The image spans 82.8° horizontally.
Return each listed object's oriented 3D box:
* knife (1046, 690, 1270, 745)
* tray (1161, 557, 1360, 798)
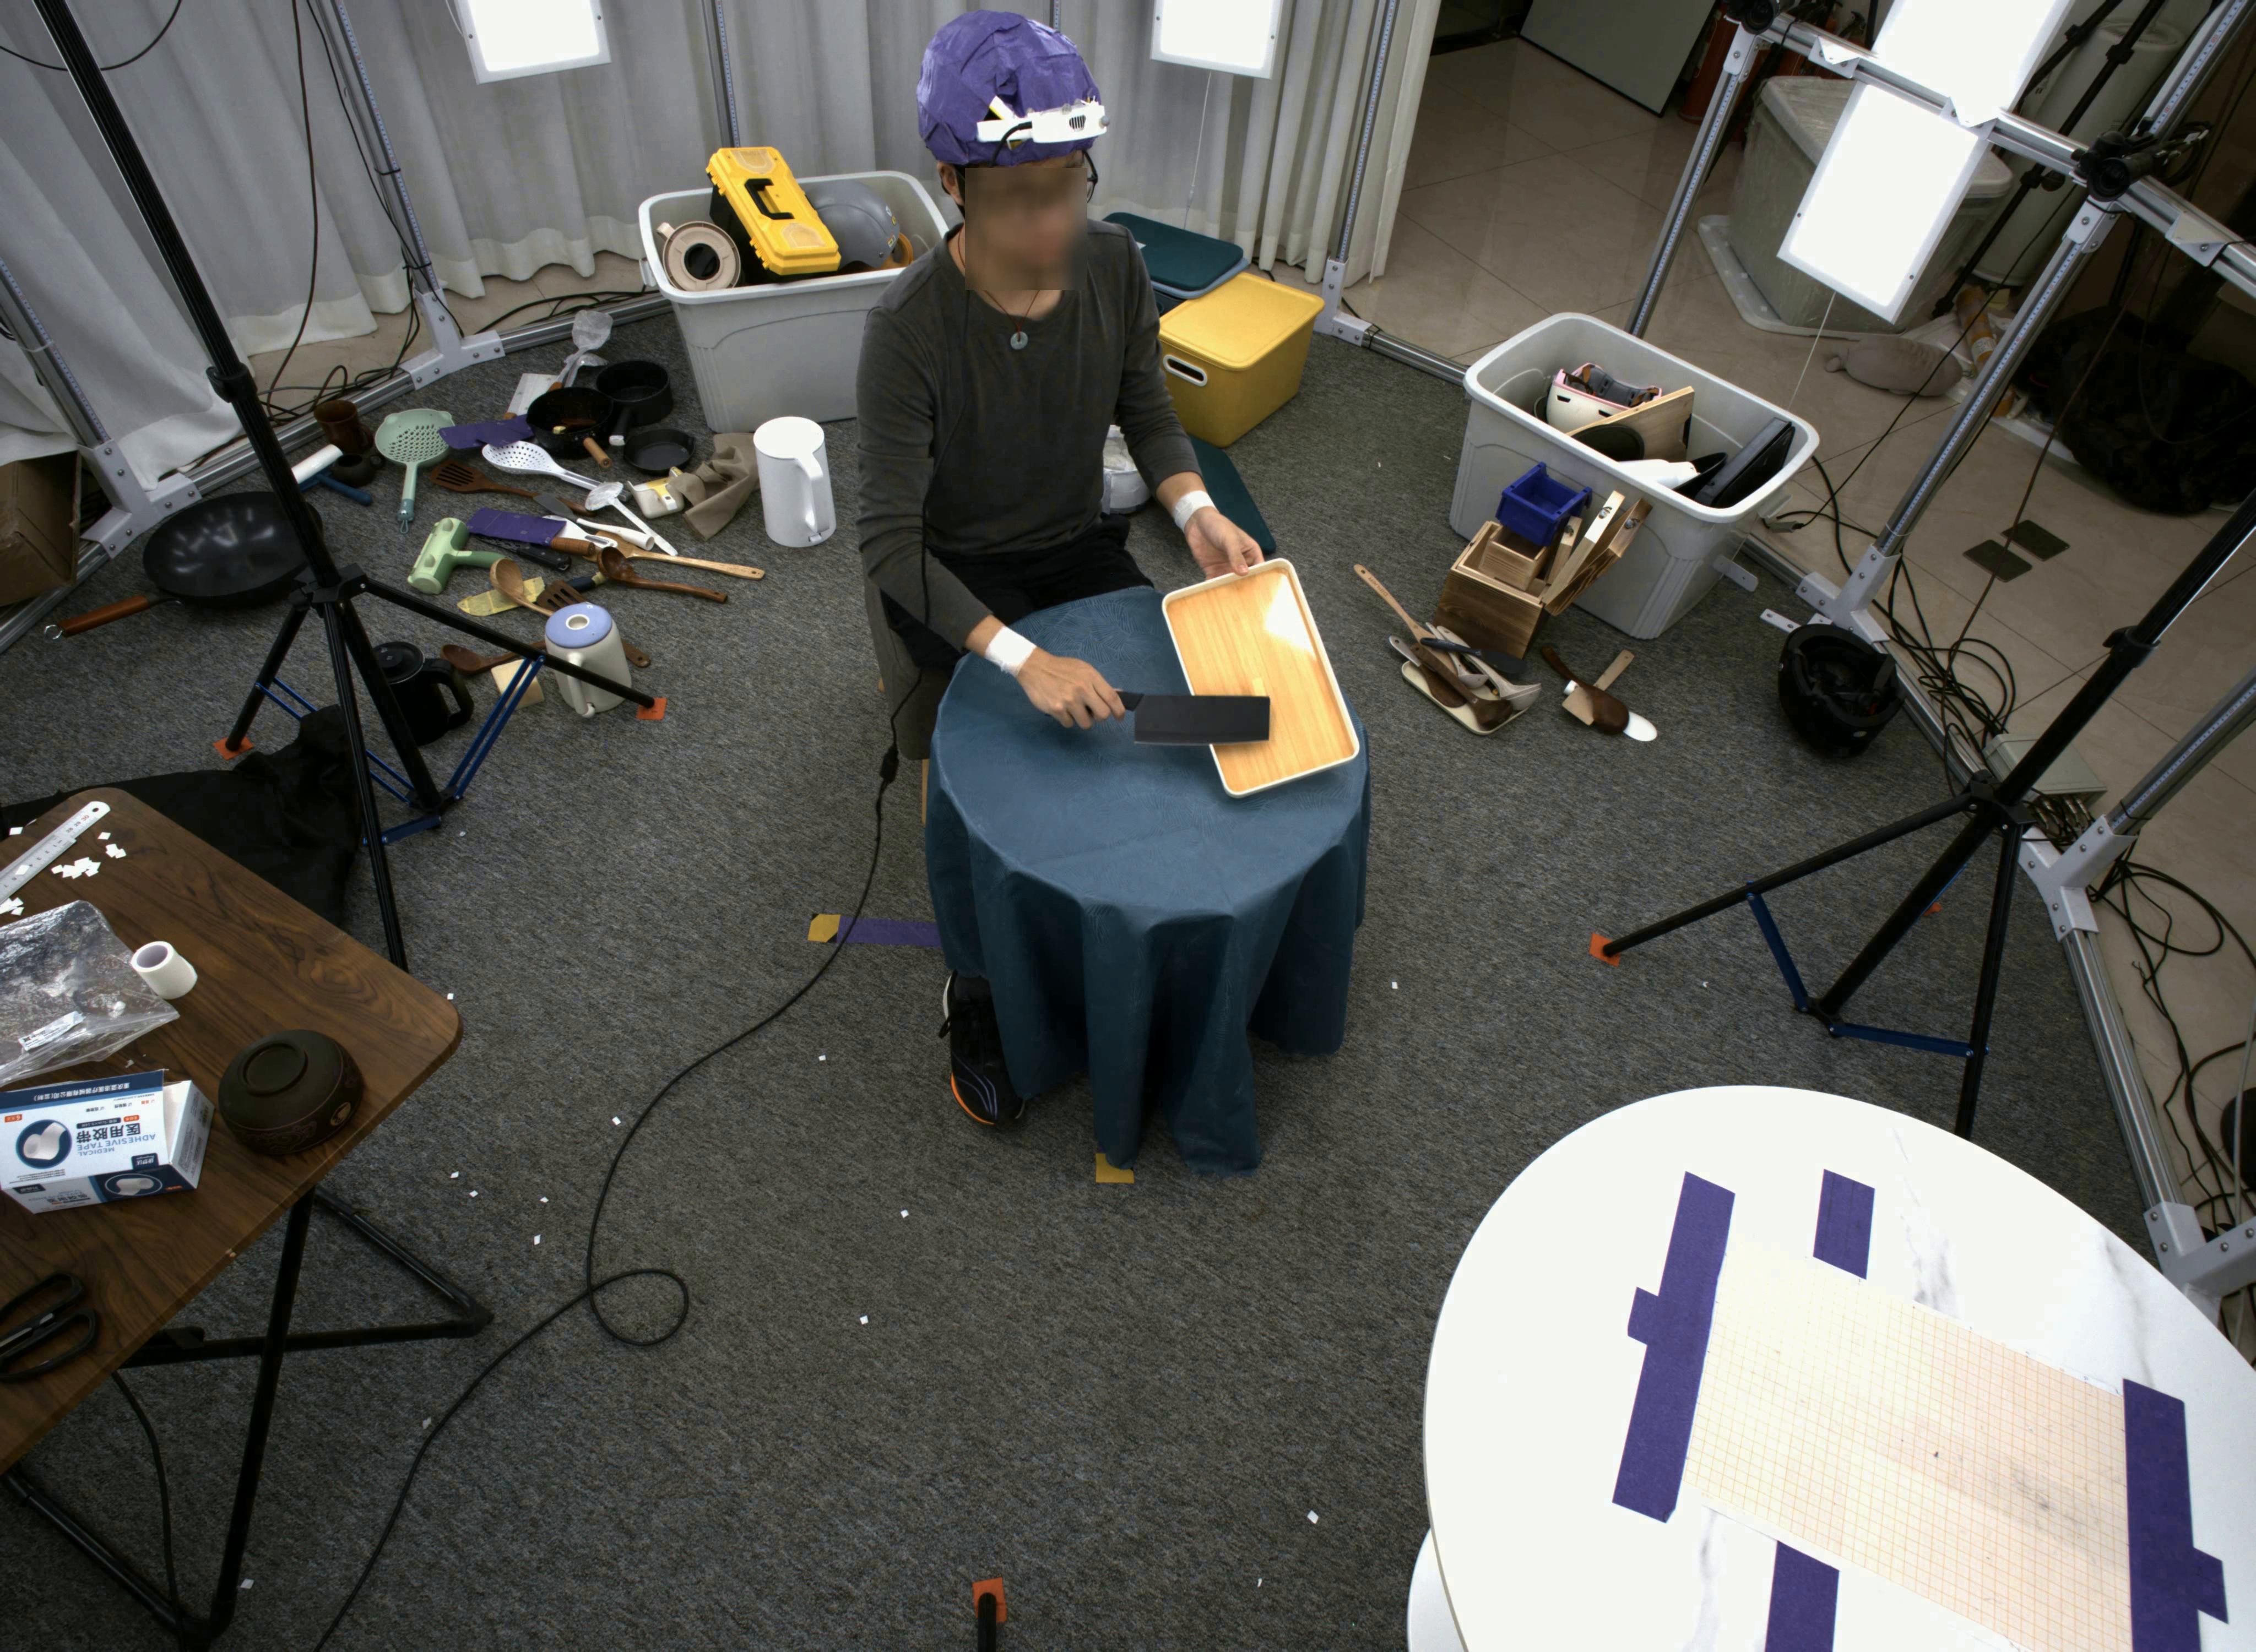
[{"bbox_3d":[0.040,-0.147,1.716,0.302,0.020,0.081,5,82,7],"label":"knife"},{"bbox_3d":[0.177,-0.202,1.735,0.191,0.027,0.304,-18,76,-1],"label":"tray"}]
